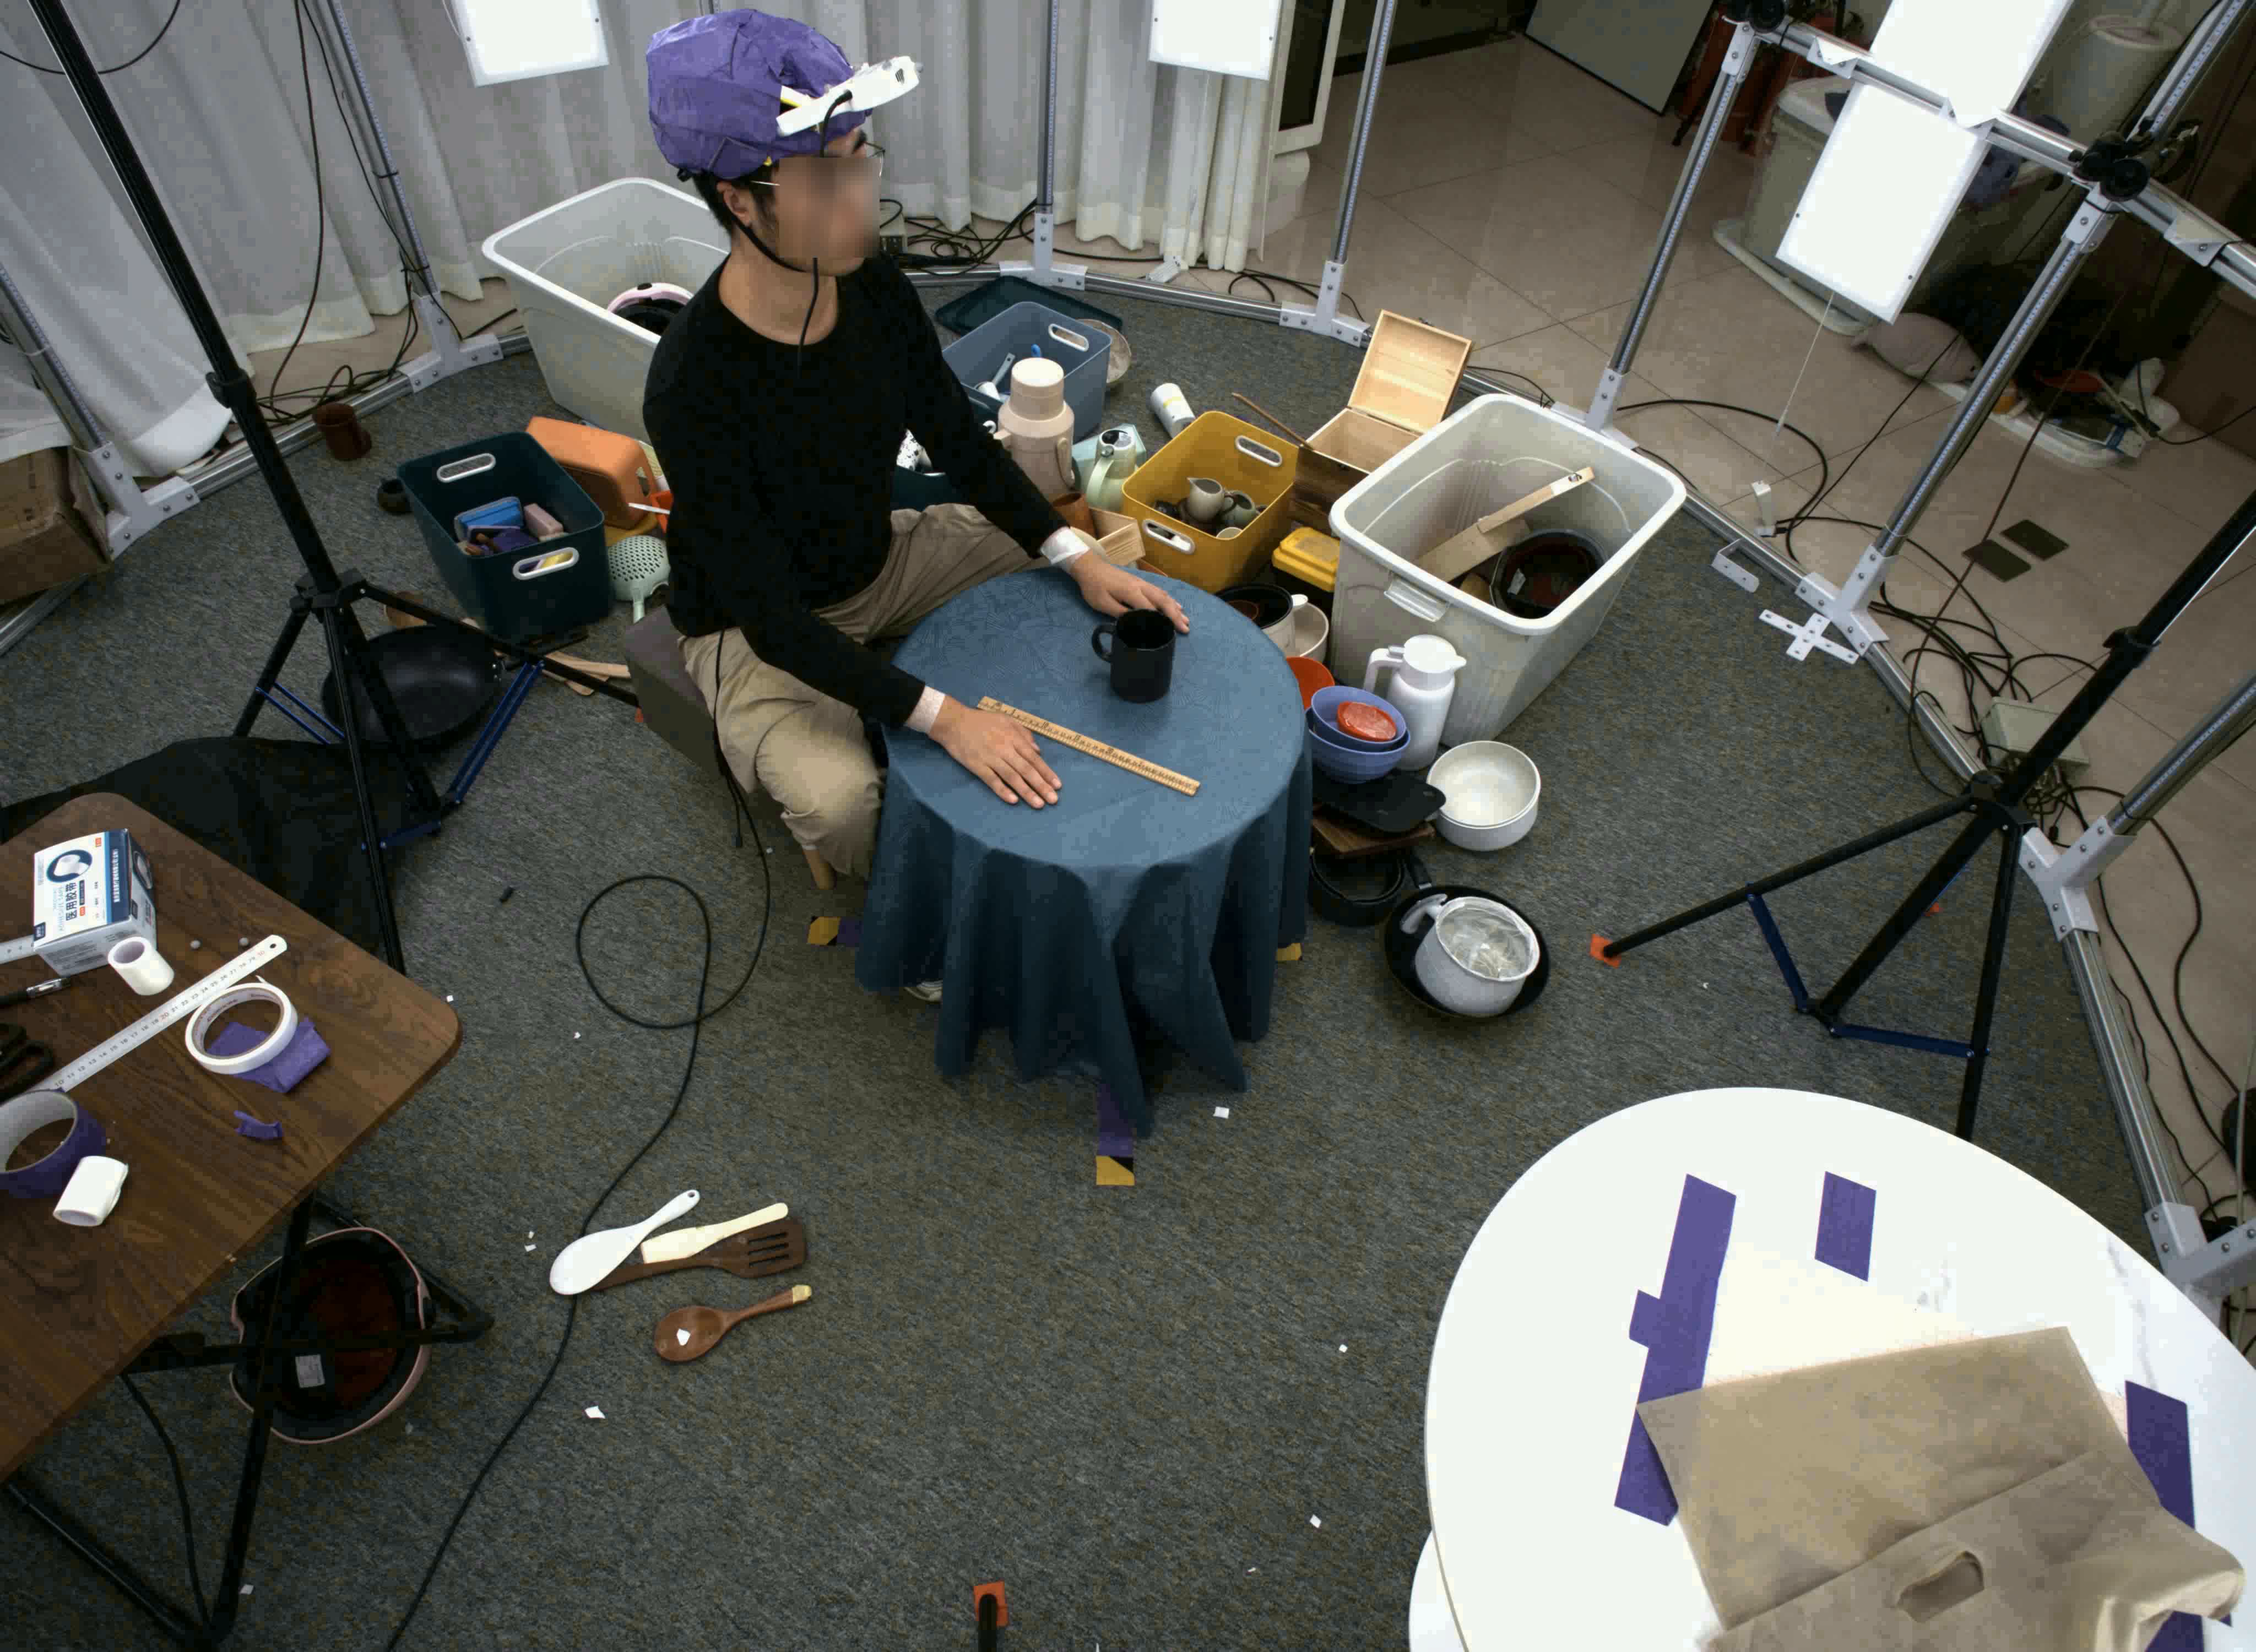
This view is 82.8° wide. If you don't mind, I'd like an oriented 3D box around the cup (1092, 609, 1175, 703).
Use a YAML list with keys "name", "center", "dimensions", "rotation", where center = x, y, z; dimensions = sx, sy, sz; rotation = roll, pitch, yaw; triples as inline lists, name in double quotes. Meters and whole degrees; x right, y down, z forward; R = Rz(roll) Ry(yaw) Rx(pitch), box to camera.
- name: "cup"
  center: [0.004, -0.247, 1.819]
  dimensions: [0.124, 0.103, 0.090]
  rotation: [24, 53, 17]

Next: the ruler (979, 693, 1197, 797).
- name: "ruler"
  center: [-0.058, -0.116, 1.760]
  dimensions: [0.334, 0.021, 0.028]
  rotation: [25, 47, 16]
